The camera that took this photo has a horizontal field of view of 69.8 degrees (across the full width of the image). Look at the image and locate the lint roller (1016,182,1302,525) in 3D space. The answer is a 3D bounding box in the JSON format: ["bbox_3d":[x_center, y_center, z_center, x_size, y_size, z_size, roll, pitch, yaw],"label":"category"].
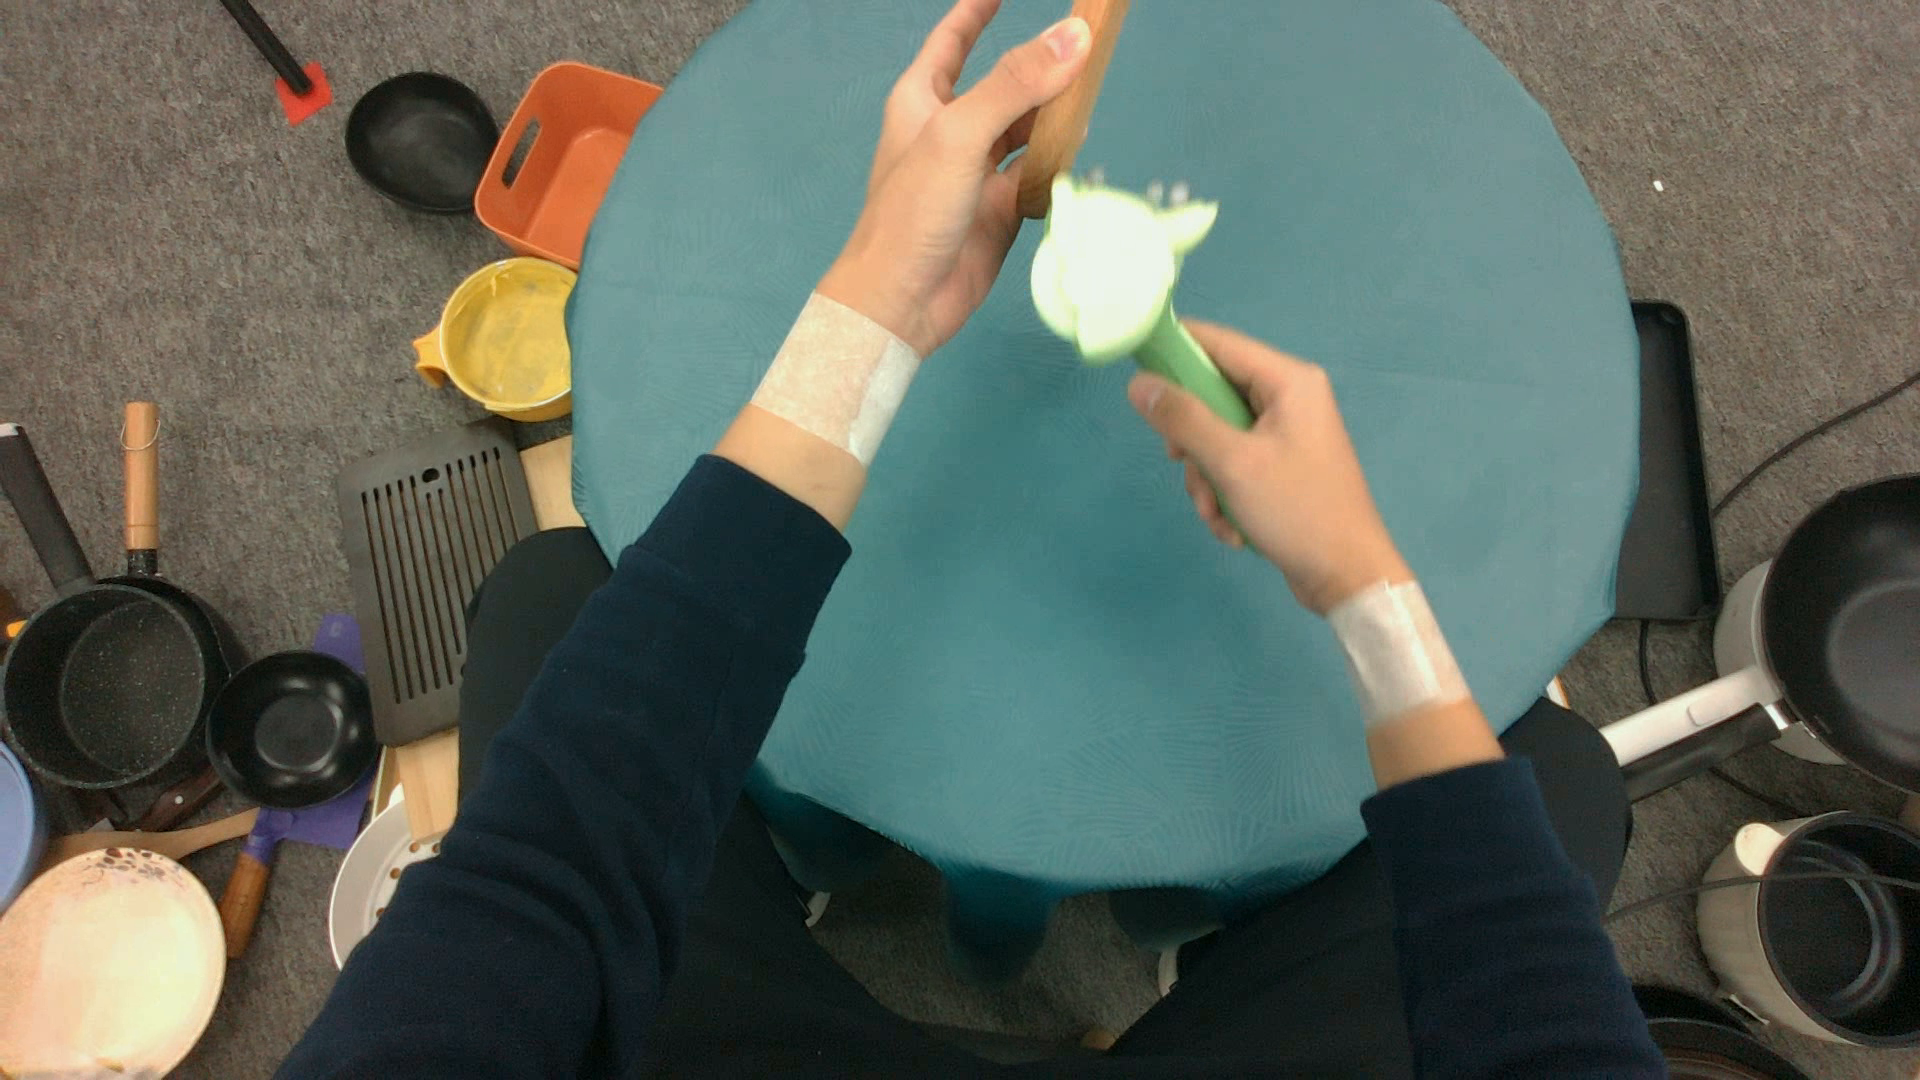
[{"bbox_3d":[0.106,-0.092,0.615,0.183,0.199,0.082,43,107,-3],"label":"lint roller"}]

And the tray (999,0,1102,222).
[{"bbox_3d":[0.055,-0.243,0.560,0.020,0.102,0.231,16,99,4],"label":"tray"}]
